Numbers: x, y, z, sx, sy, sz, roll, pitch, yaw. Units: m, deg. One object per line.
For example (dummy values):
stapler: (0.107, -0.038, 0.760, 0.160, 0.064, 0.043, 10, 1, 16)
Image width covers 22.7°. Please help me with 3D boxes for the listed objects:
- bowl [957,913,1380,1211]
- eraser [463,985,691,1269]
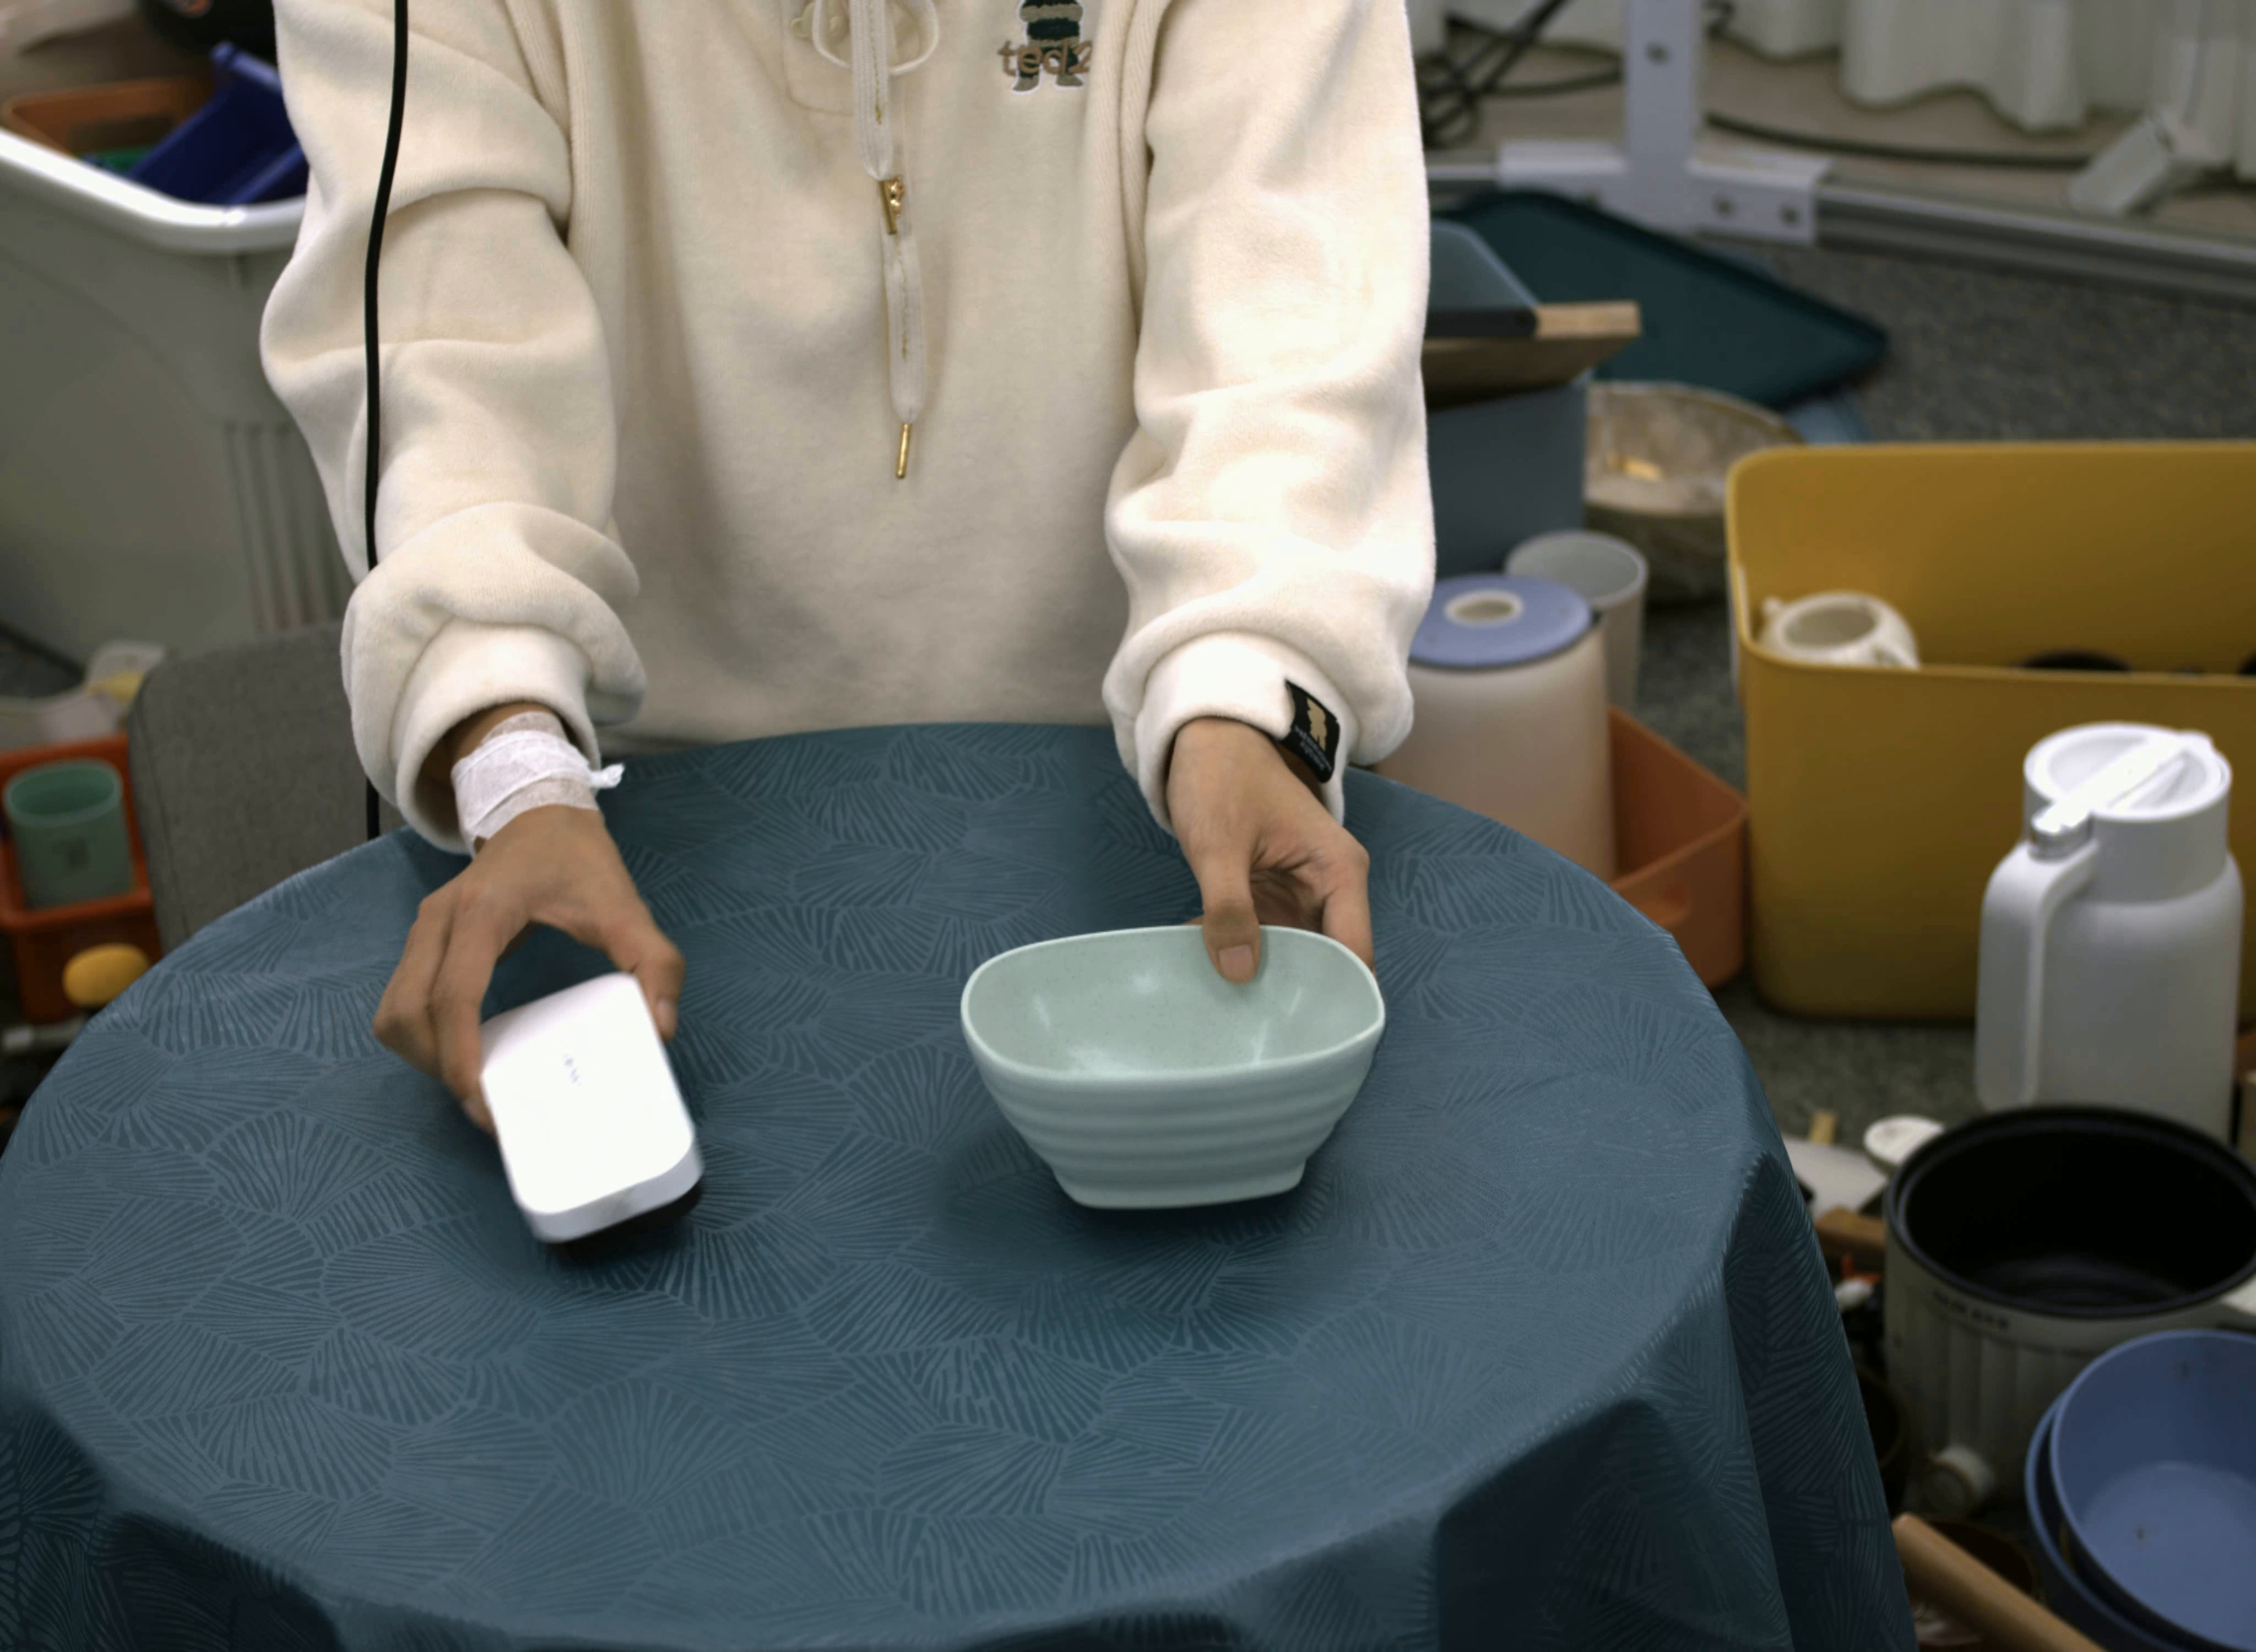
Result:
bowl: (0.013, 0.083, 1.858, 0.151, 0.058, 0.153, 2, 22, 0)
eraser: (-0.183, 0.097, 1.877, 0.063, 0.034, 0.133, -18, 31, -5)
